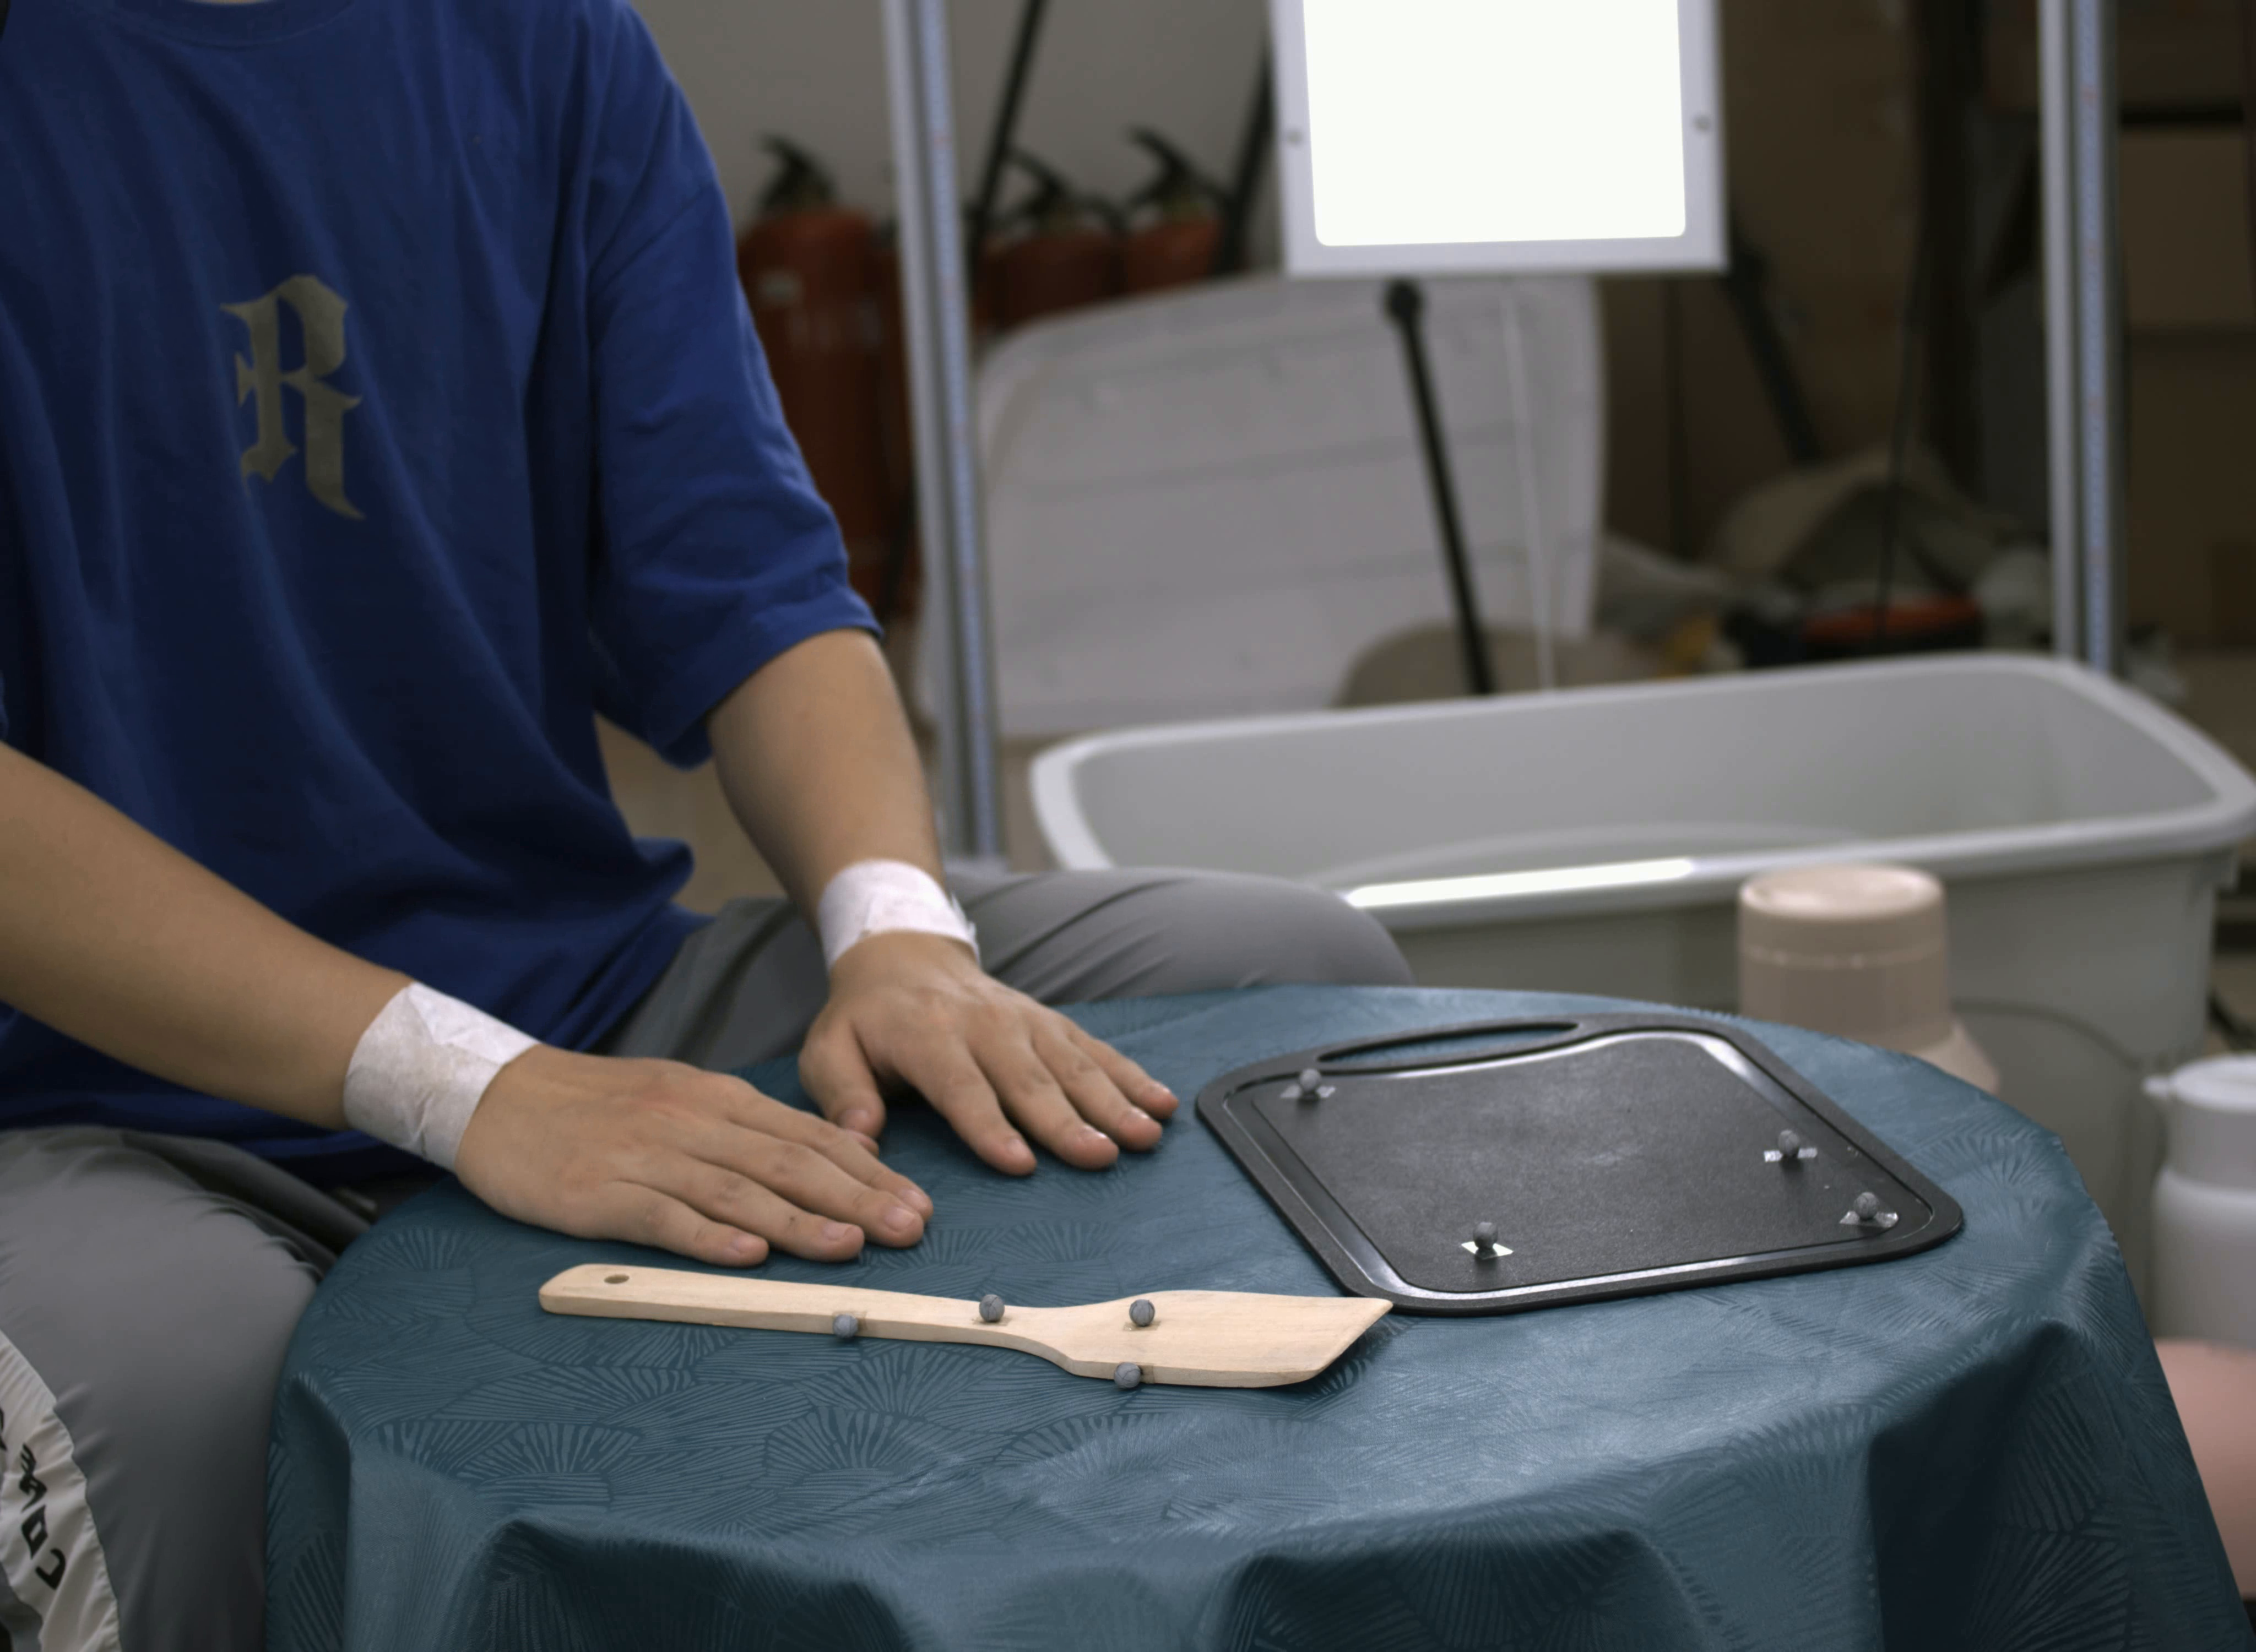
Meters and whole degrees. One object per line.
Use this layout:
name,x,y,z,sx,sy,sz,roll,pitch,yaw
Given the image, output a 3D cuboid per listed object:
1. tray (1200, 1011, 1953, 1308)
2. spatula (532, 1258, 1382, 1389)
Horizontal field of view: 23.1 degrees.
tray,0.146,0.109,1.900,0.209,0.010,0.327,-7,14,-9
spatula,-0.063,0.157,1.775,0.298,0.011,0.071,2,17,27
